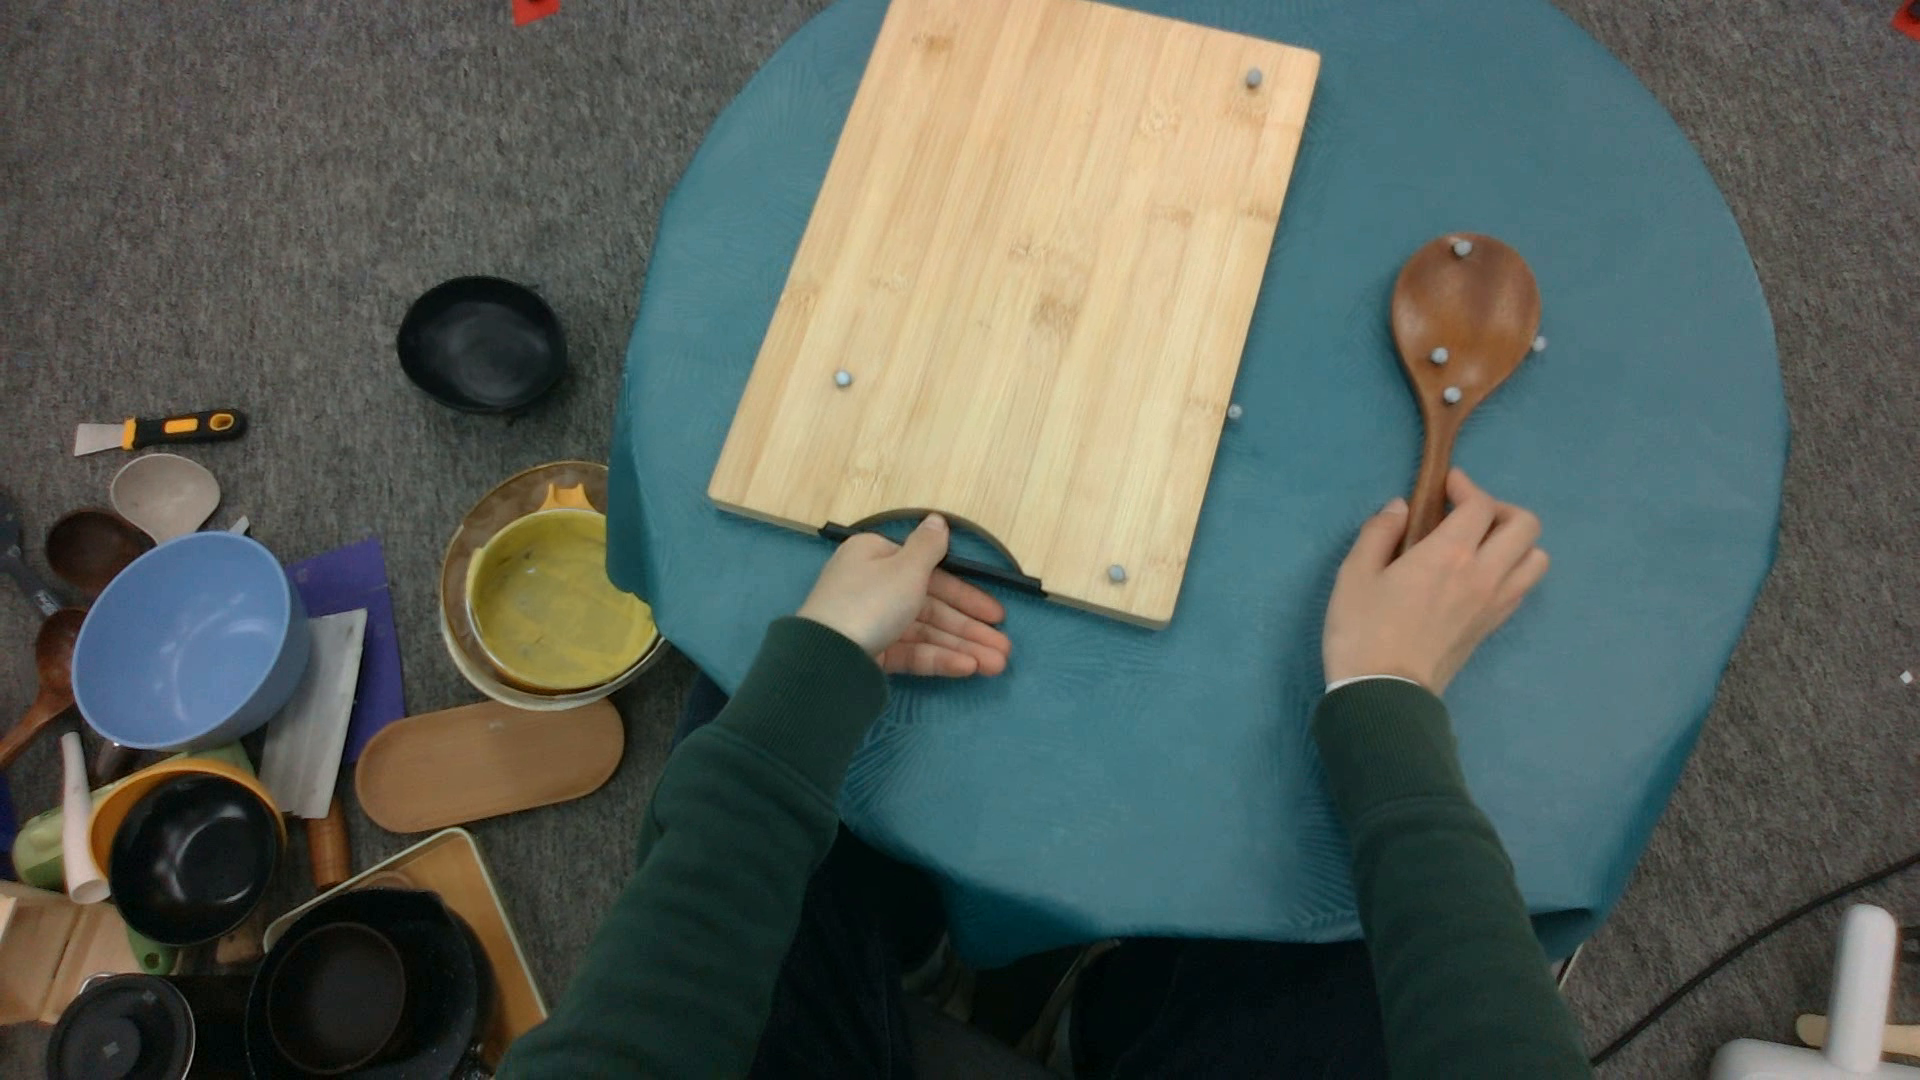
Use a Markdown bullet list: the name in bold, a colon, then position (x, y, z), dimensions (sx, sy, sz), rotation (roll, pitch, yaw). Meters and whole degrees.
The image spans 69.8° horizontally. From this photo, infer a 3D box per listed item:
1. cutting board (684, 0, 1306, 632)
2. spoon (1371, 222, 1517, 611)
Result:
- **cutting board**: position (0.027, -0.144, 0.731), dimensions (0.250, 0.023, 0.349), rotation (14, 72, 7)
- **spoon**: position (0.236, -0.066, 0.698), dimensions (0.075, 0.017, 0.216), rotation (14, 72, 4)
